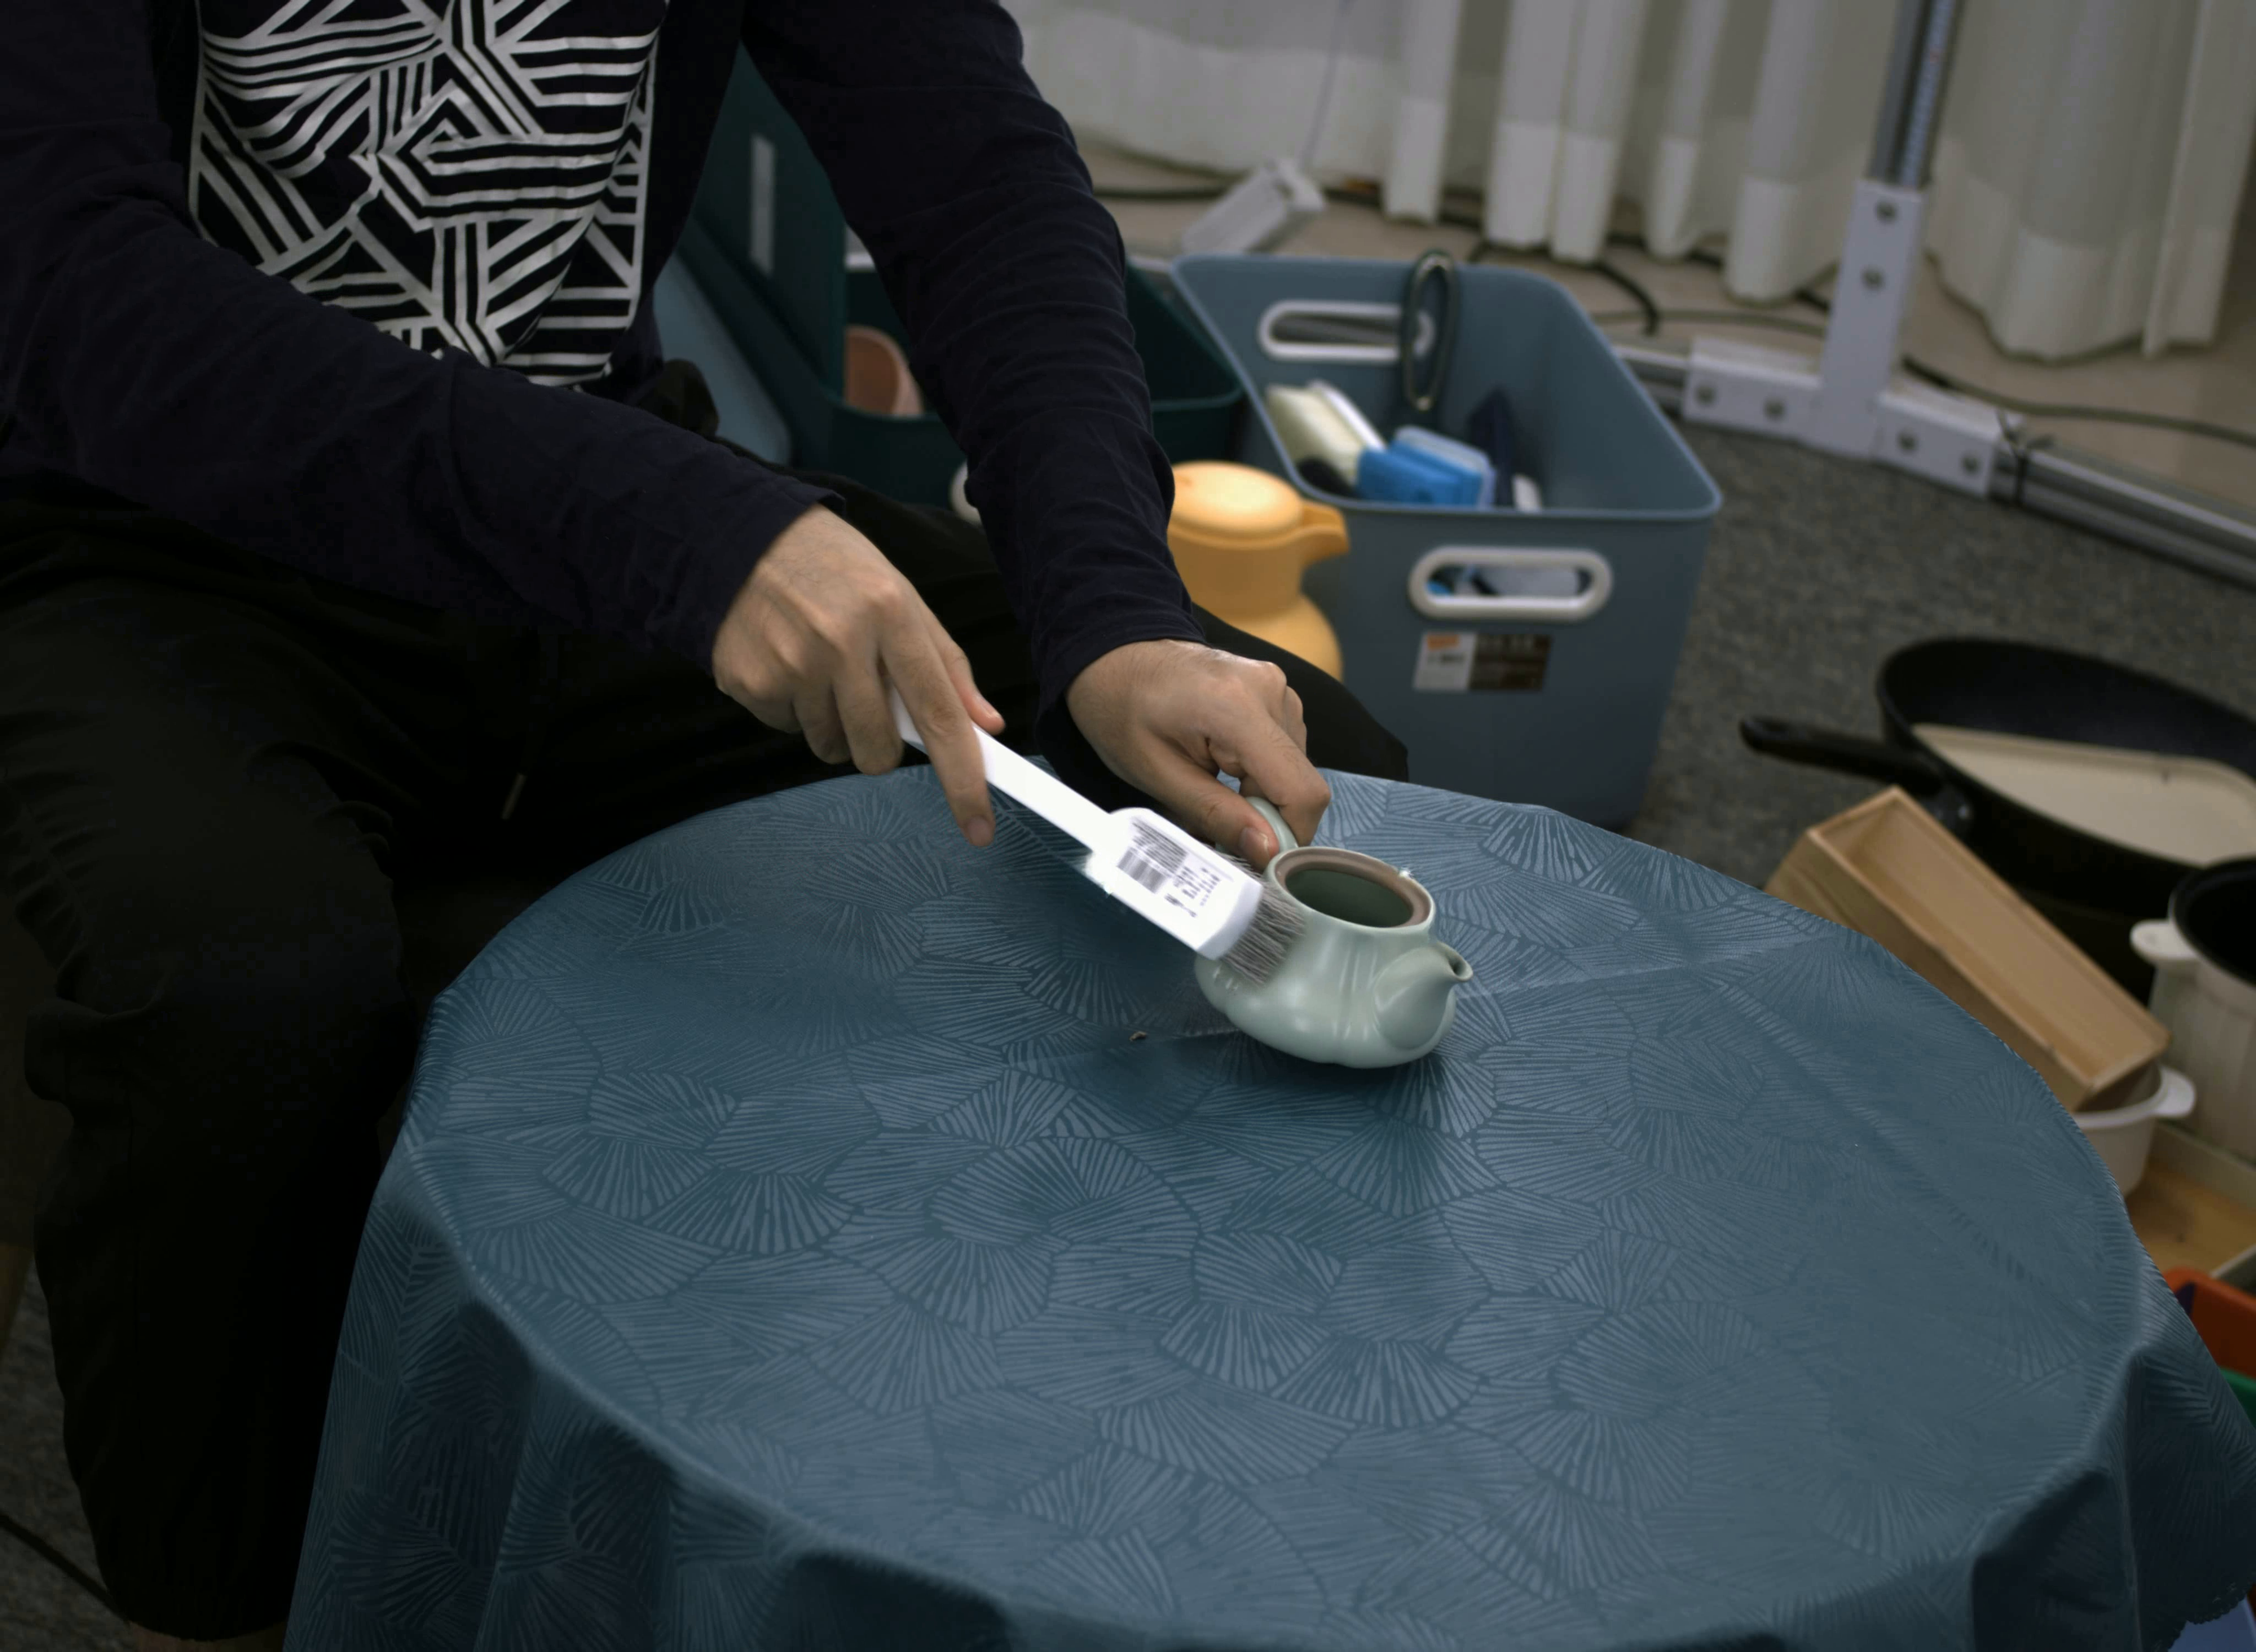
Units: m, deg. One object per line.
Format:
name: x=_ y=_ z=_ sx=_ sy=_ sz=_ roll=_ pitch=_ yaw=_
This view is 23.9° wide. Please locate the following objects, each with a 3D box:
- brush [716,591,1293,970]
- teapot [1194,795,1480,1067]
brush: x=-0.046 y=-0.019 z=1.910 sx=0.245 sy=0.034 sz=0.050 roll=31 pitch=3 yaw=24
teapot: x=0.071 y=0.042 z=1.908 sx=0.095 sy=0.061 sz=0.138 roll=-11 pitch=37 yaw=-38
